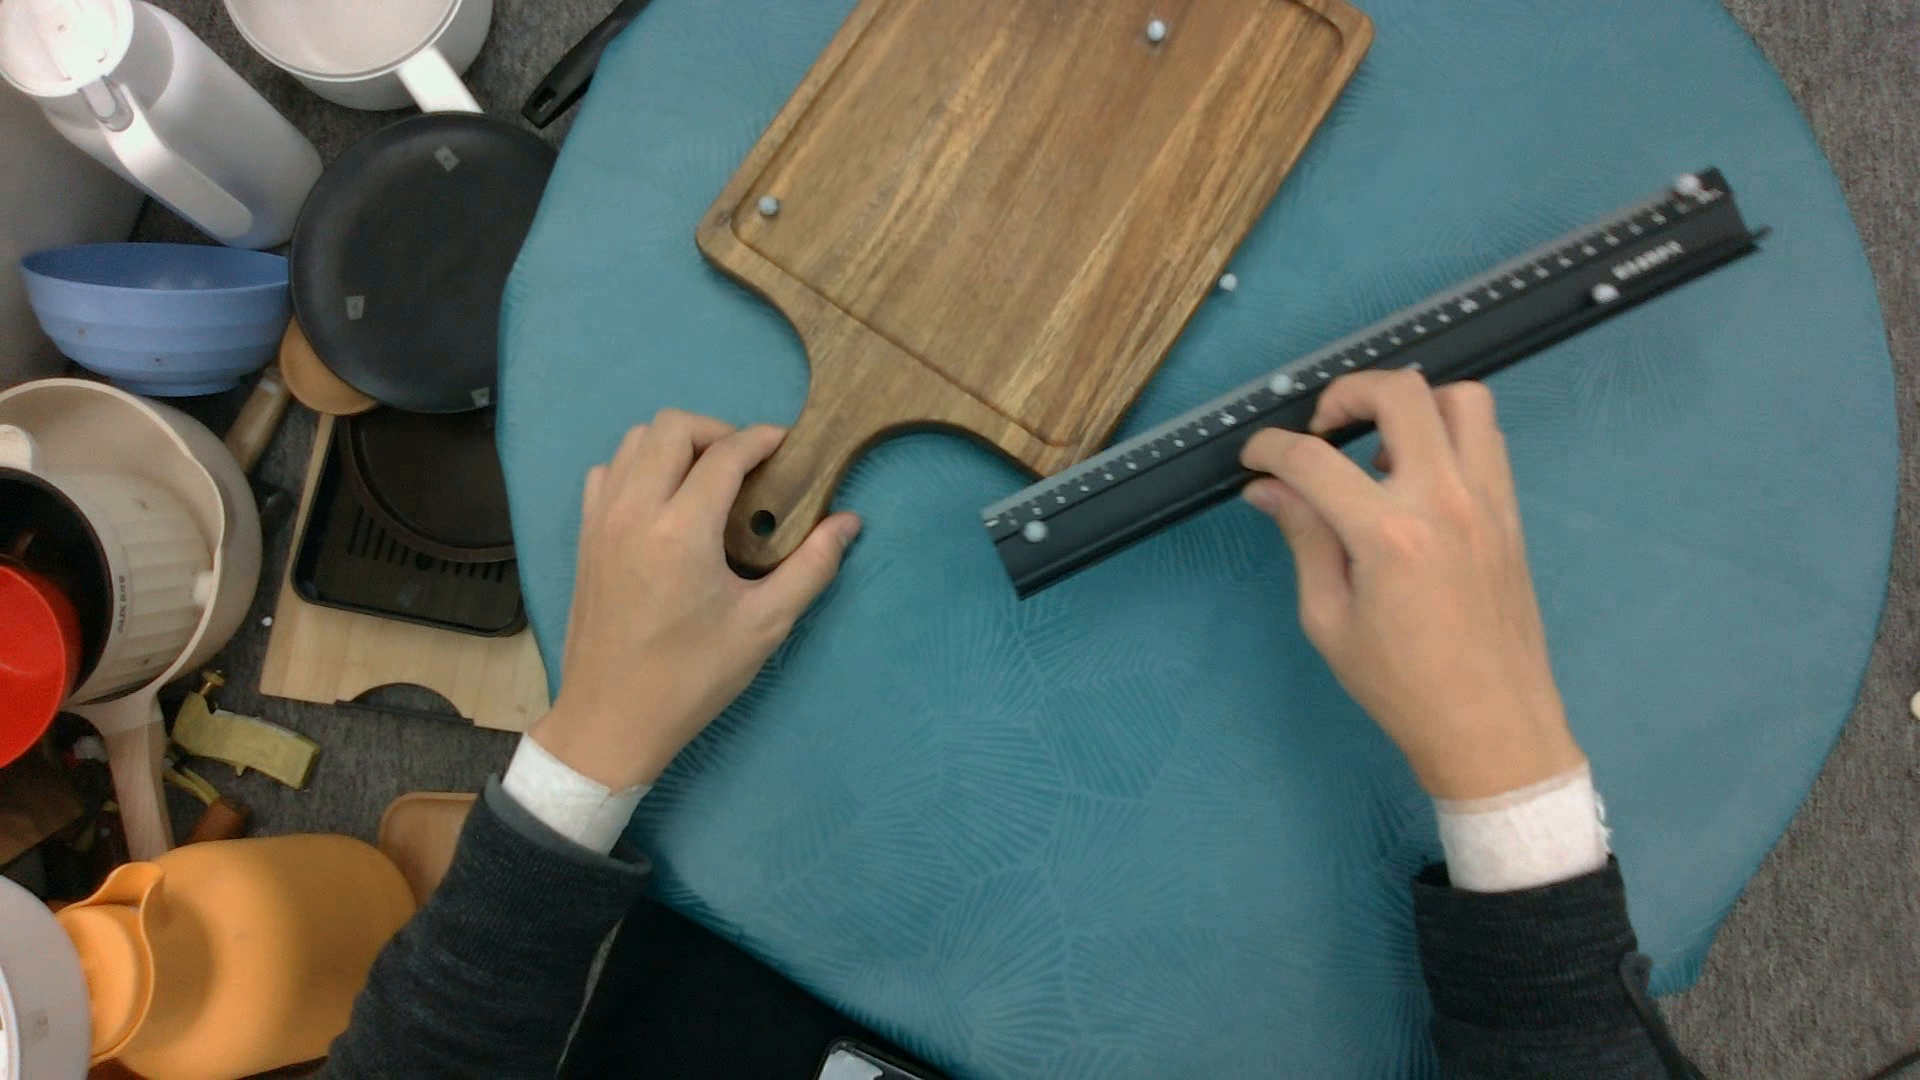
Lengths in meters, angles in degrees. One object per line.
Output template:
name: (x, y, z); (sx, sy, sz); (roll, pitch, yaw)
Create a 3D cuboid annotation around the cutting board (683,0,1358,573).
cutting board: (0.002, -0.137, 0.593); (0.201, 0.023, 0.352); (33, 82, 4)

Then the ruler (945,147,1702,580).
ruler: (0.141, -0.071, 0.525); (0.313, 0.017, 0.039); (-27, 86, -3)
